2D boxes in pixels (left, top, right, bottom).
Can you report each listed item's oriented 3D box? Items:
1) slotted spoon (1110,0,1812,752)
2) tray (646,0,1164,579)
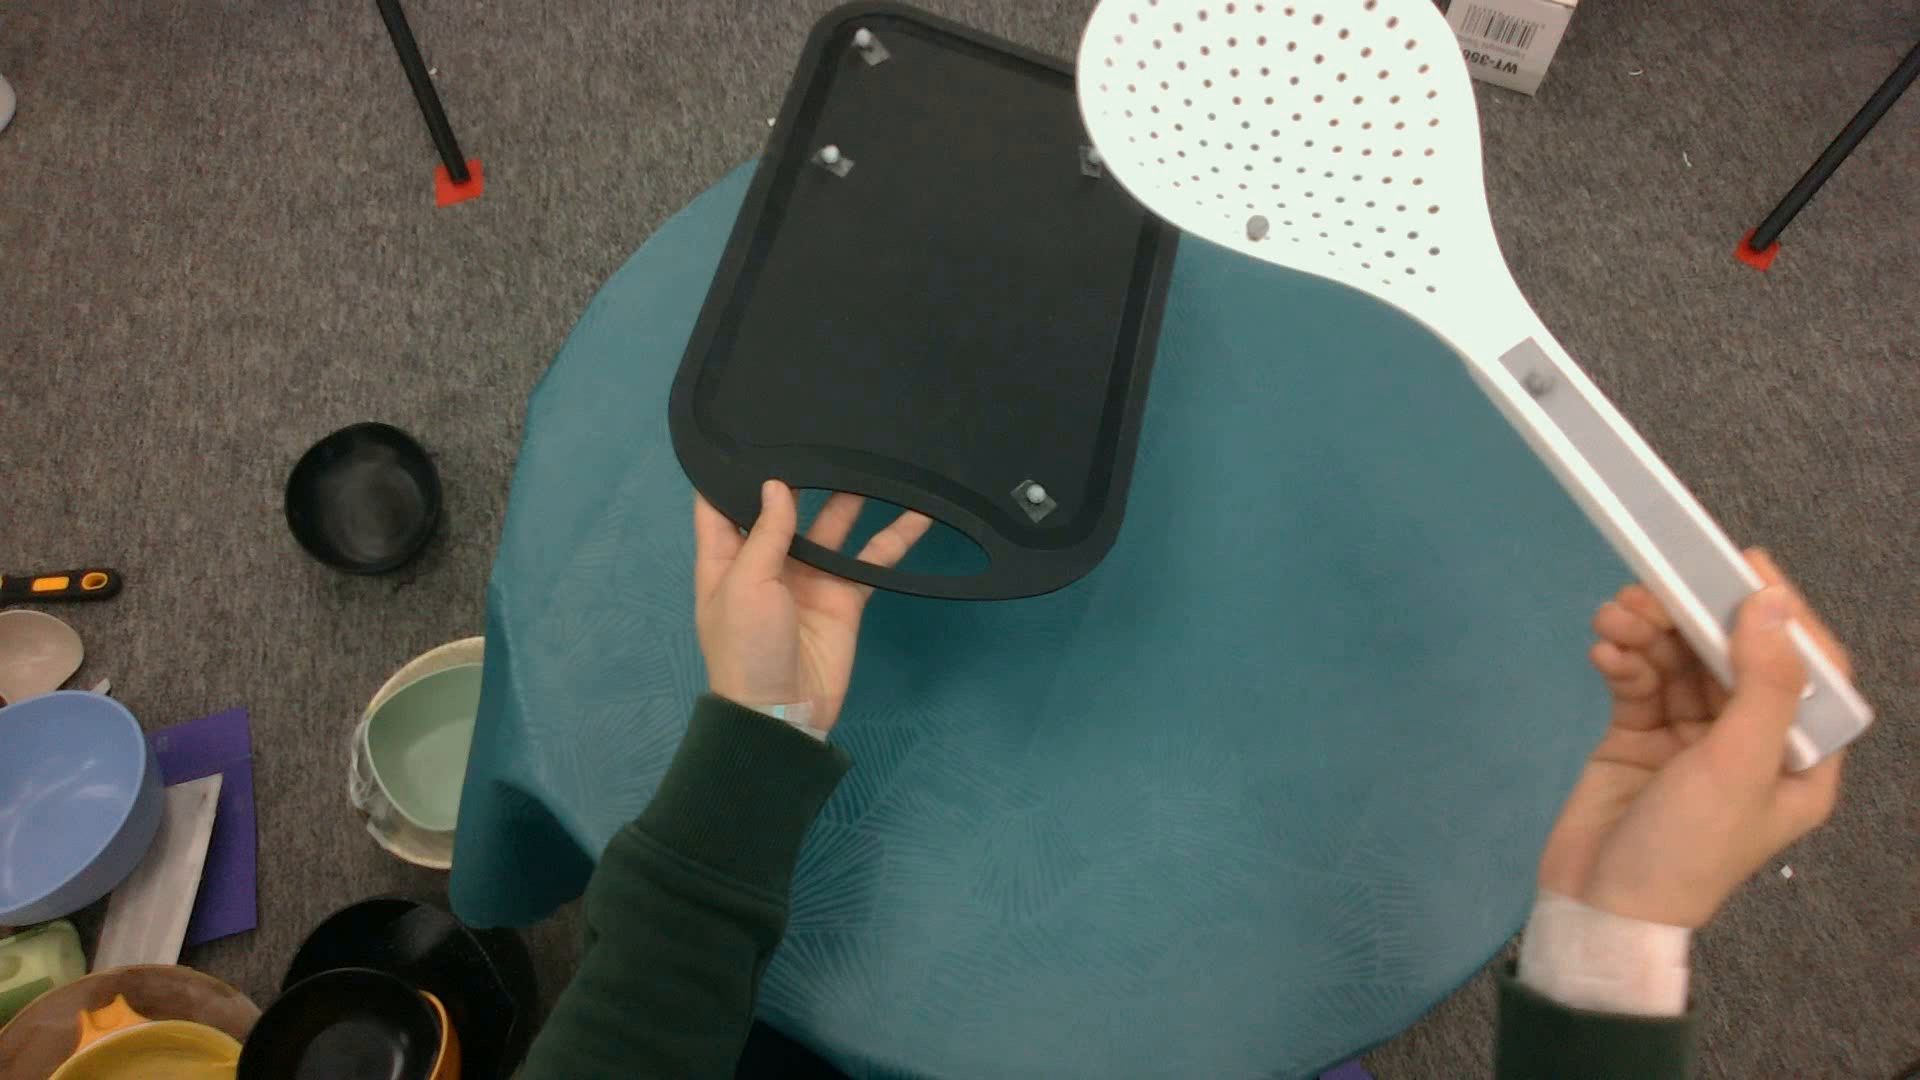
[{"bbox_3d":[0.177,-0.082,0.487,0.136,0.045,0.350,-28,70,-12],"label":"slotted spoon"},{"bbox_3d":[-0.016,-0.131,0.660,0.211,0.010,0.327,16,61,-5],"label":"tray"}]
